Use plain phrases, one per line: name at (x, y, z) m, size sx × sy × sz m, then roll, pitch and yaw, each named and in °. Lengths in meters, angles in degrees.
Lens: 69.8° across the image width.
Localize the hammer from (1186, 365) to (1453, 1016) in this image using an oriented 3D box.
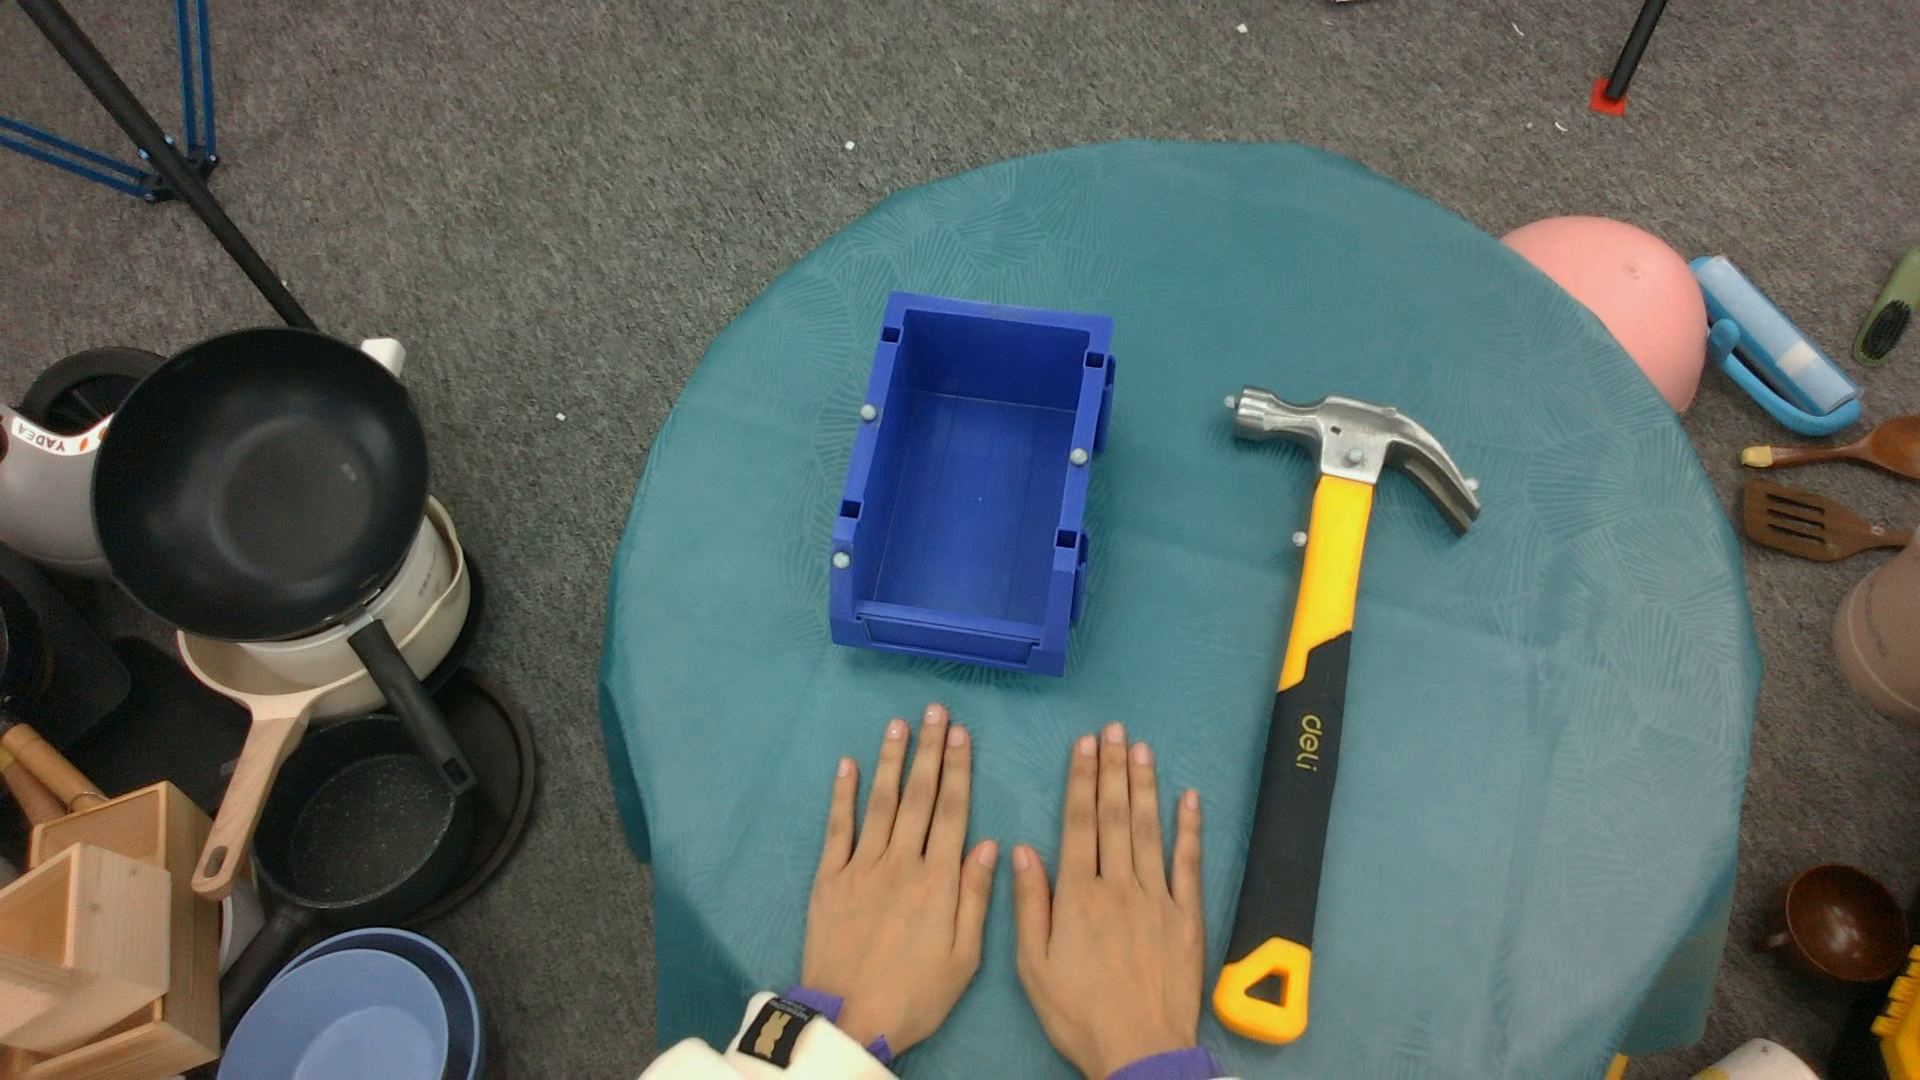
hammer at (0.164, 0.064, 0.690) m, size 0.131 × 0.032 × 0.340 m, roll 14°, pitch 64°, yaw 6°

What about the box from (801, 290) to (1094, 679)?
box at (-0.003, -0.027, 0.713) m, size 0.124 × 0.081 × 0.180 m, roll 9°, pitch 62°, yaw 5°
